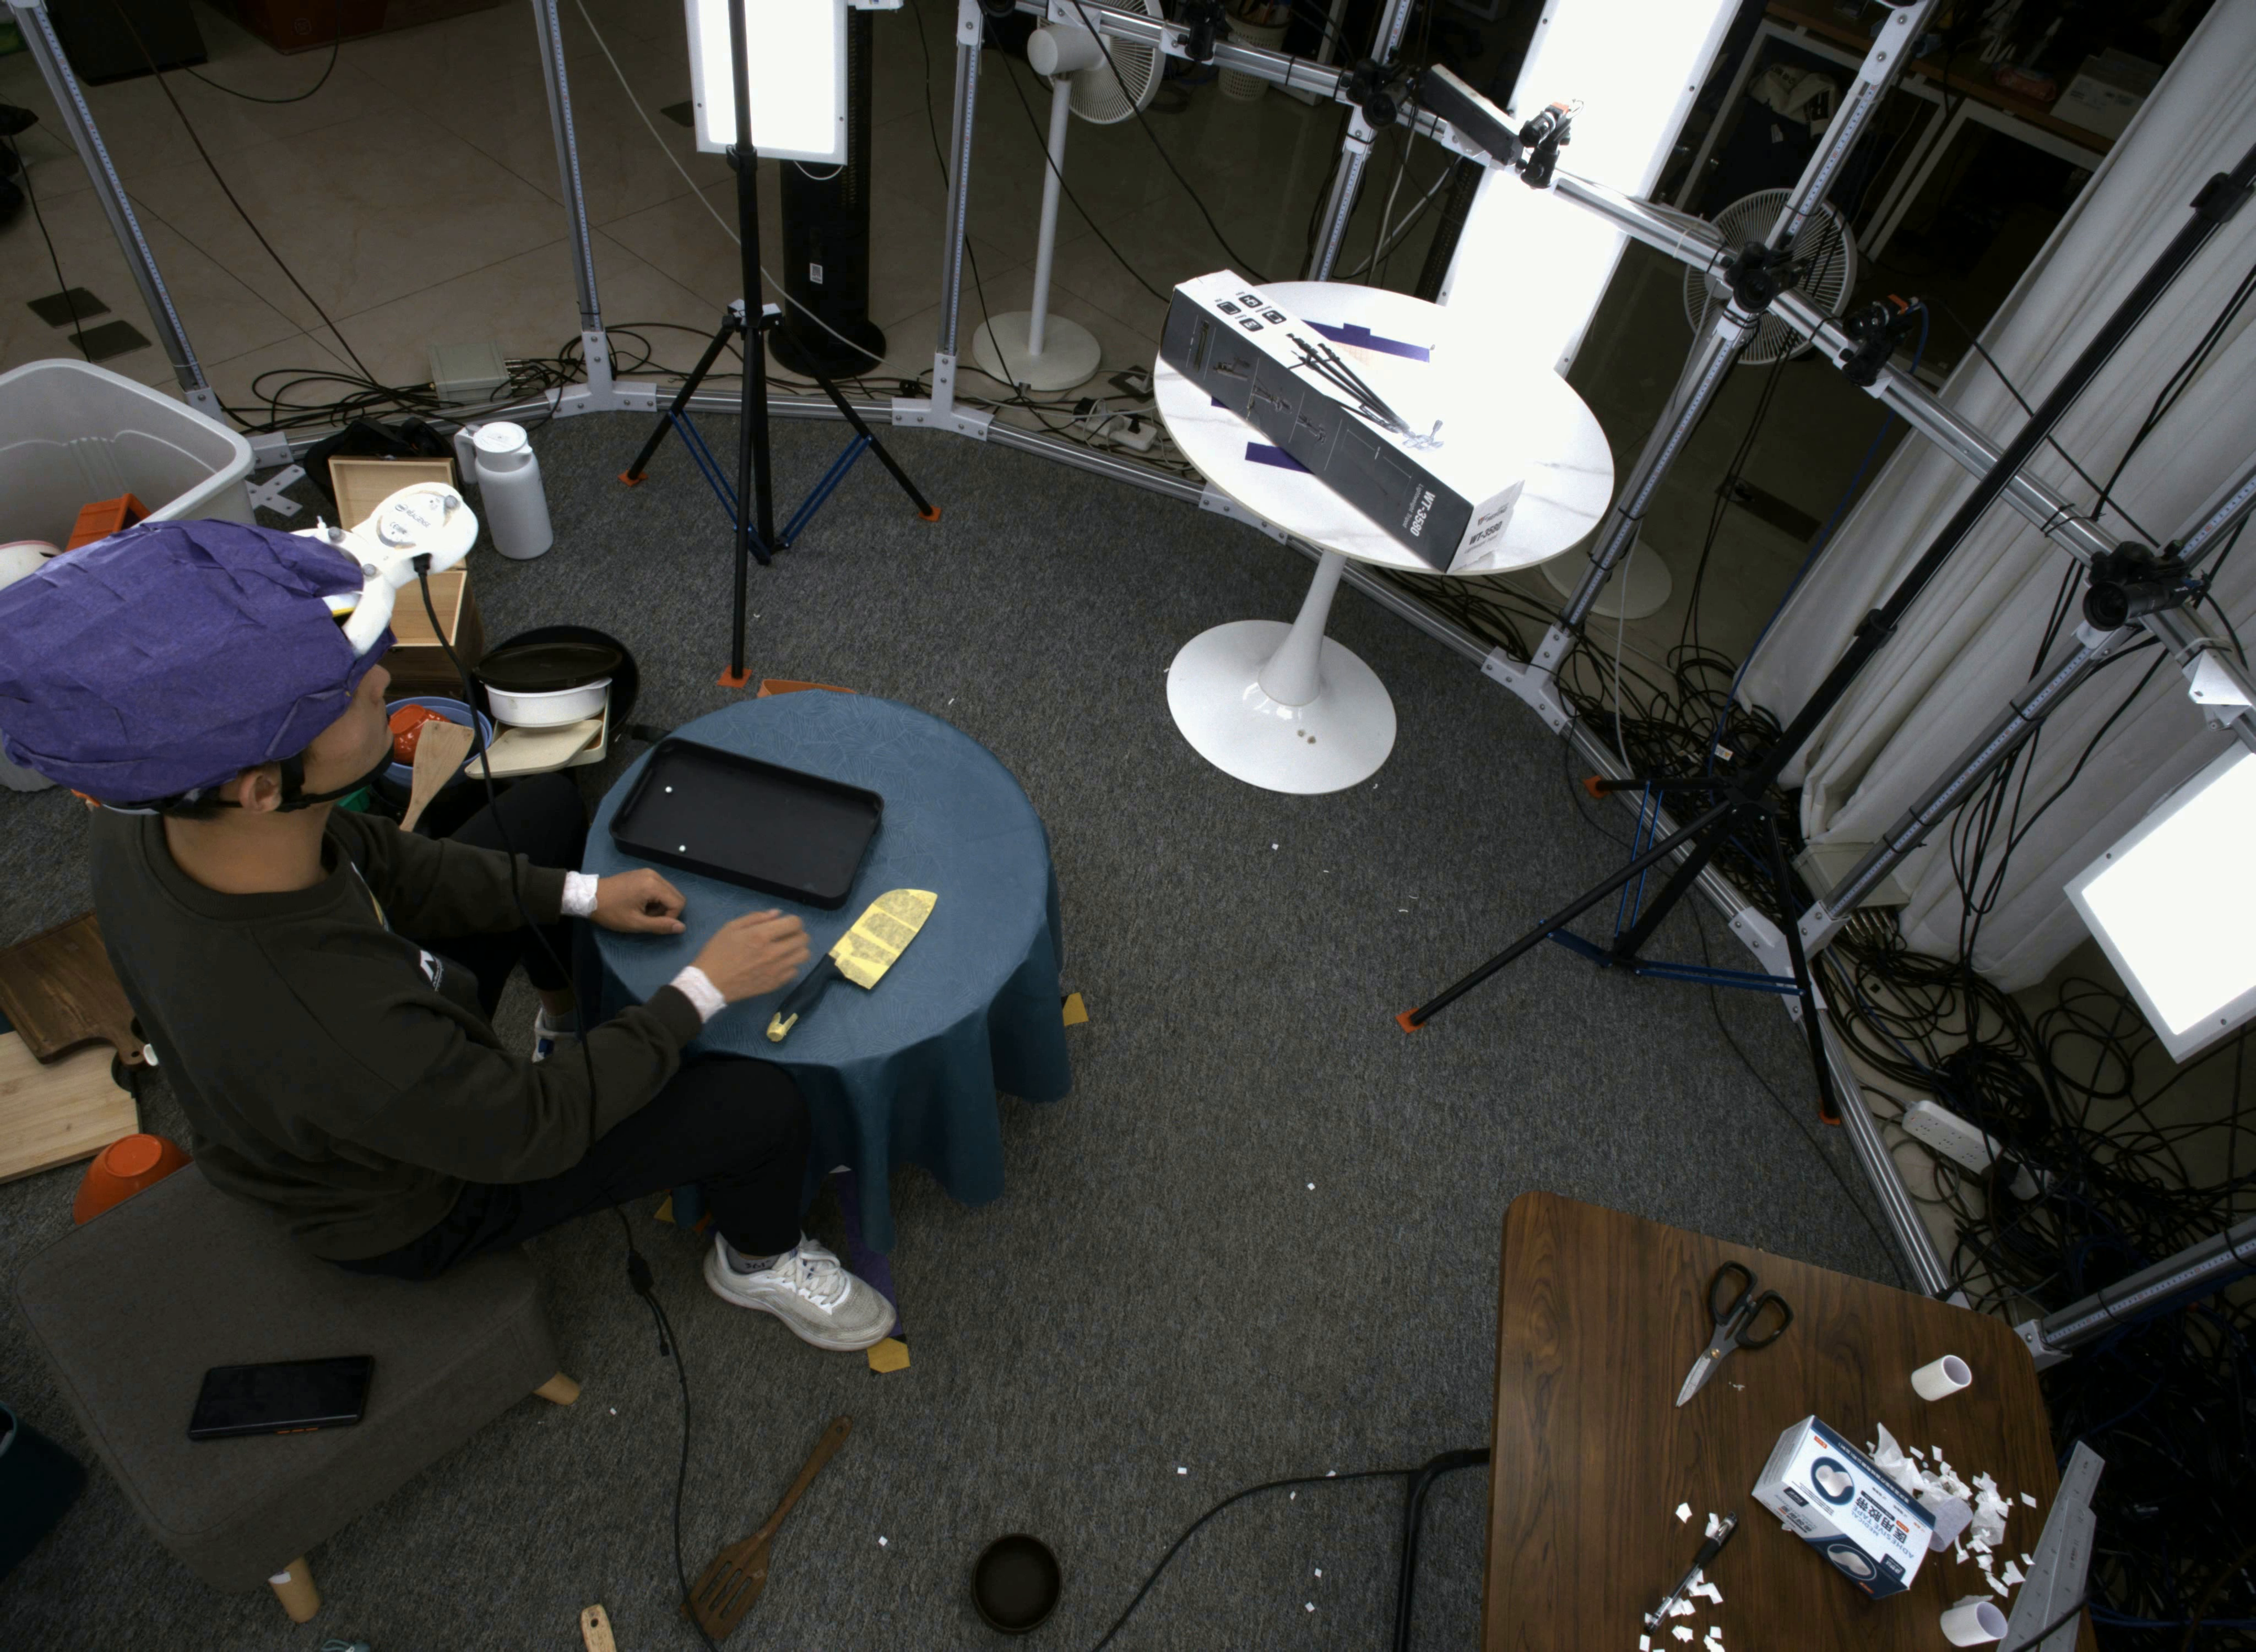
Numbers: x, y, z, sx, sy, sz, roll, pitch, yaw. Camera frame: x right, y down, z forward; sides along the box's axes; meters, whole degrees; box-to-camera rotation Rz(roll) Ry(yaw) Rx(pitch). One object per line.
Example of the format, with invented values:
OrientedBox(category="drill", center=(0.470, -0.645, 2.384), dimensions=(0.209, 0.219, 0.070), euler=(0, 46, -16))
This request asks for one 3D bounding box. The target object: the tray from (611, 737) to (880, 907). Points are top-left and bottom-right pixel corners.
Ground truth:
OrientedBox(category="tray", center=(-0.500, -0.008, 1.699), dimensions=(0.316, 0.038, 0.182), euler=(14, 53, -4))

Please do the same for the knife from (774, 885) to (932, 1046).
OrientedBox(category="knife", center=(-0.338, 0.168, 1.623), dimensions=(0.079, 0.028, 0.288), euler=(30, 52, 11))
